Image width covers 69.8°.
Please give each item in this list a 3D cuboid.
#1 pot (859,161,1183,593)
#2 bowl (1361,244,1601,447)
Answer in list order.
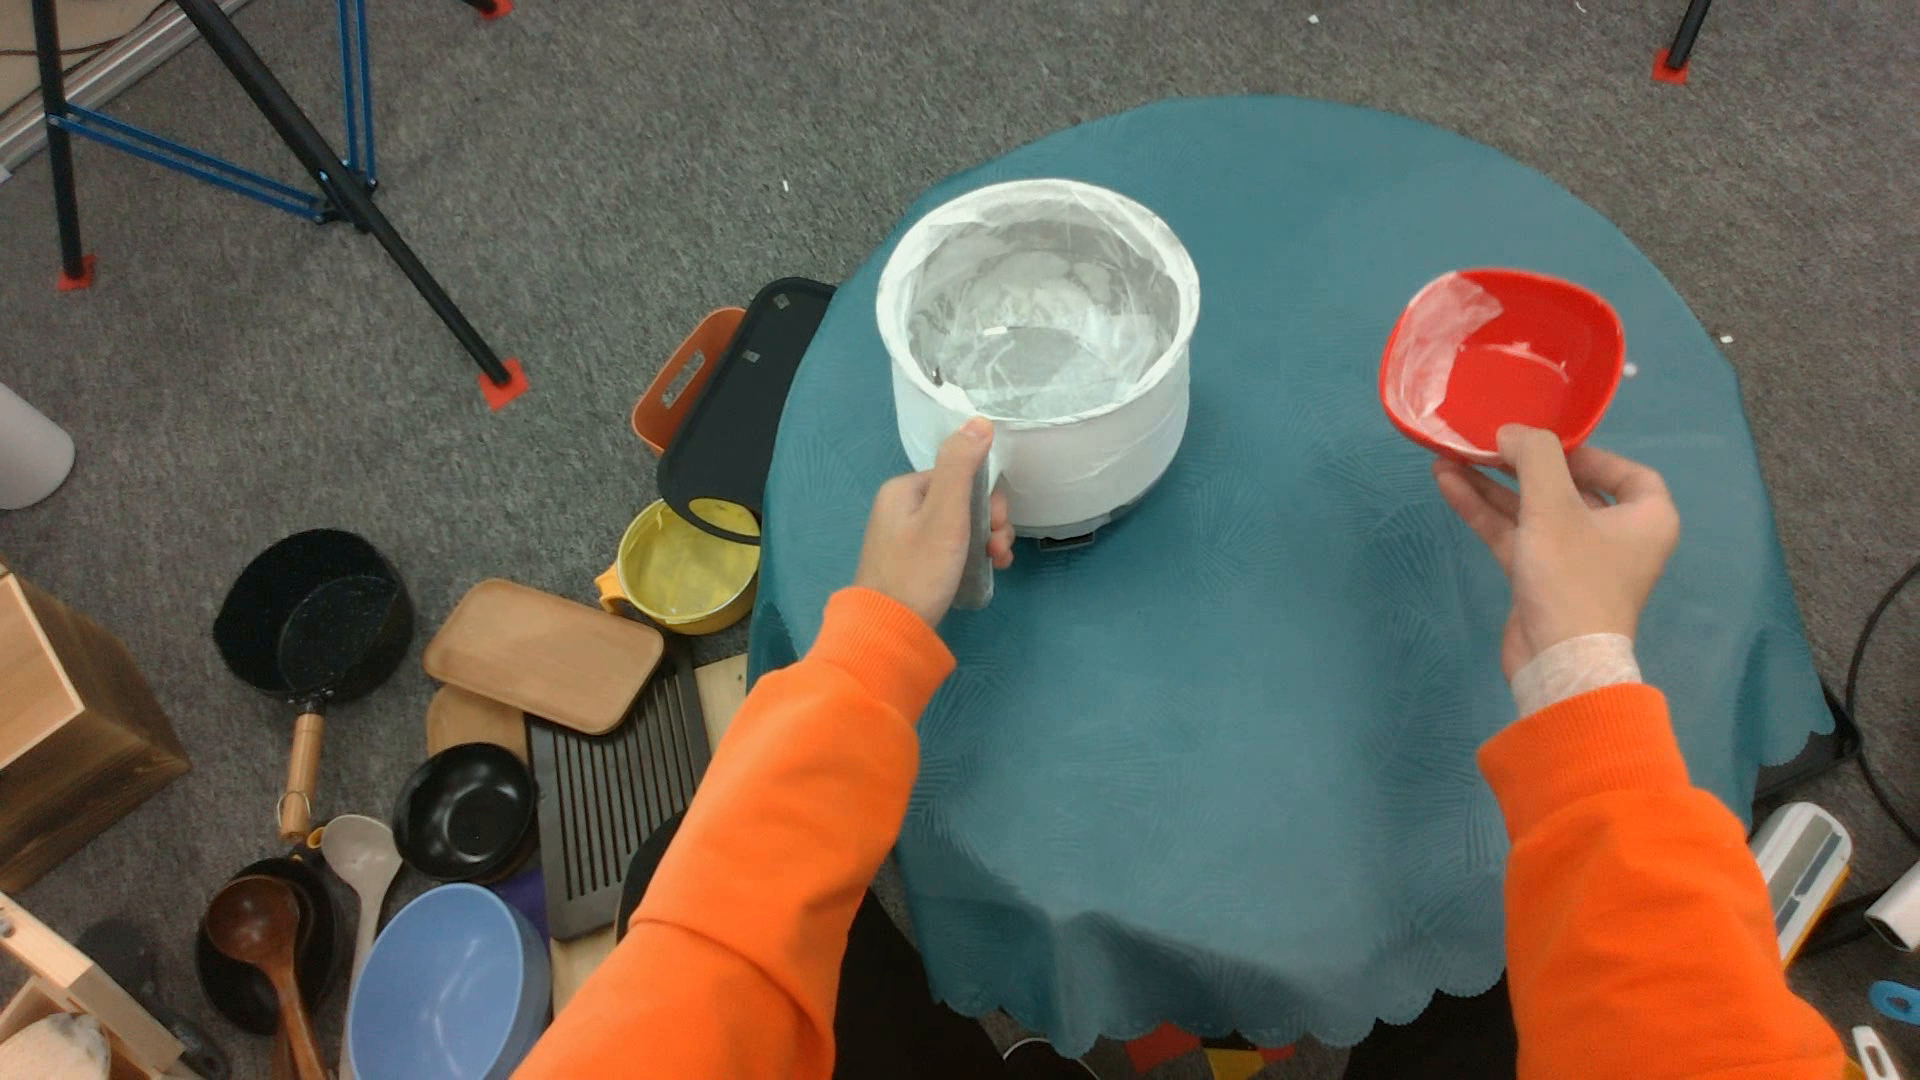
[{"bbox_3d":[0.028,-0.089,0.792,0.178,0.136,0.235,14,61,13],"label":"pot"},{"bbox_3d":[0.265,-0.092,0.708,0.119,0.051,0.119,-7,63,15],"label":"bowl"}]
